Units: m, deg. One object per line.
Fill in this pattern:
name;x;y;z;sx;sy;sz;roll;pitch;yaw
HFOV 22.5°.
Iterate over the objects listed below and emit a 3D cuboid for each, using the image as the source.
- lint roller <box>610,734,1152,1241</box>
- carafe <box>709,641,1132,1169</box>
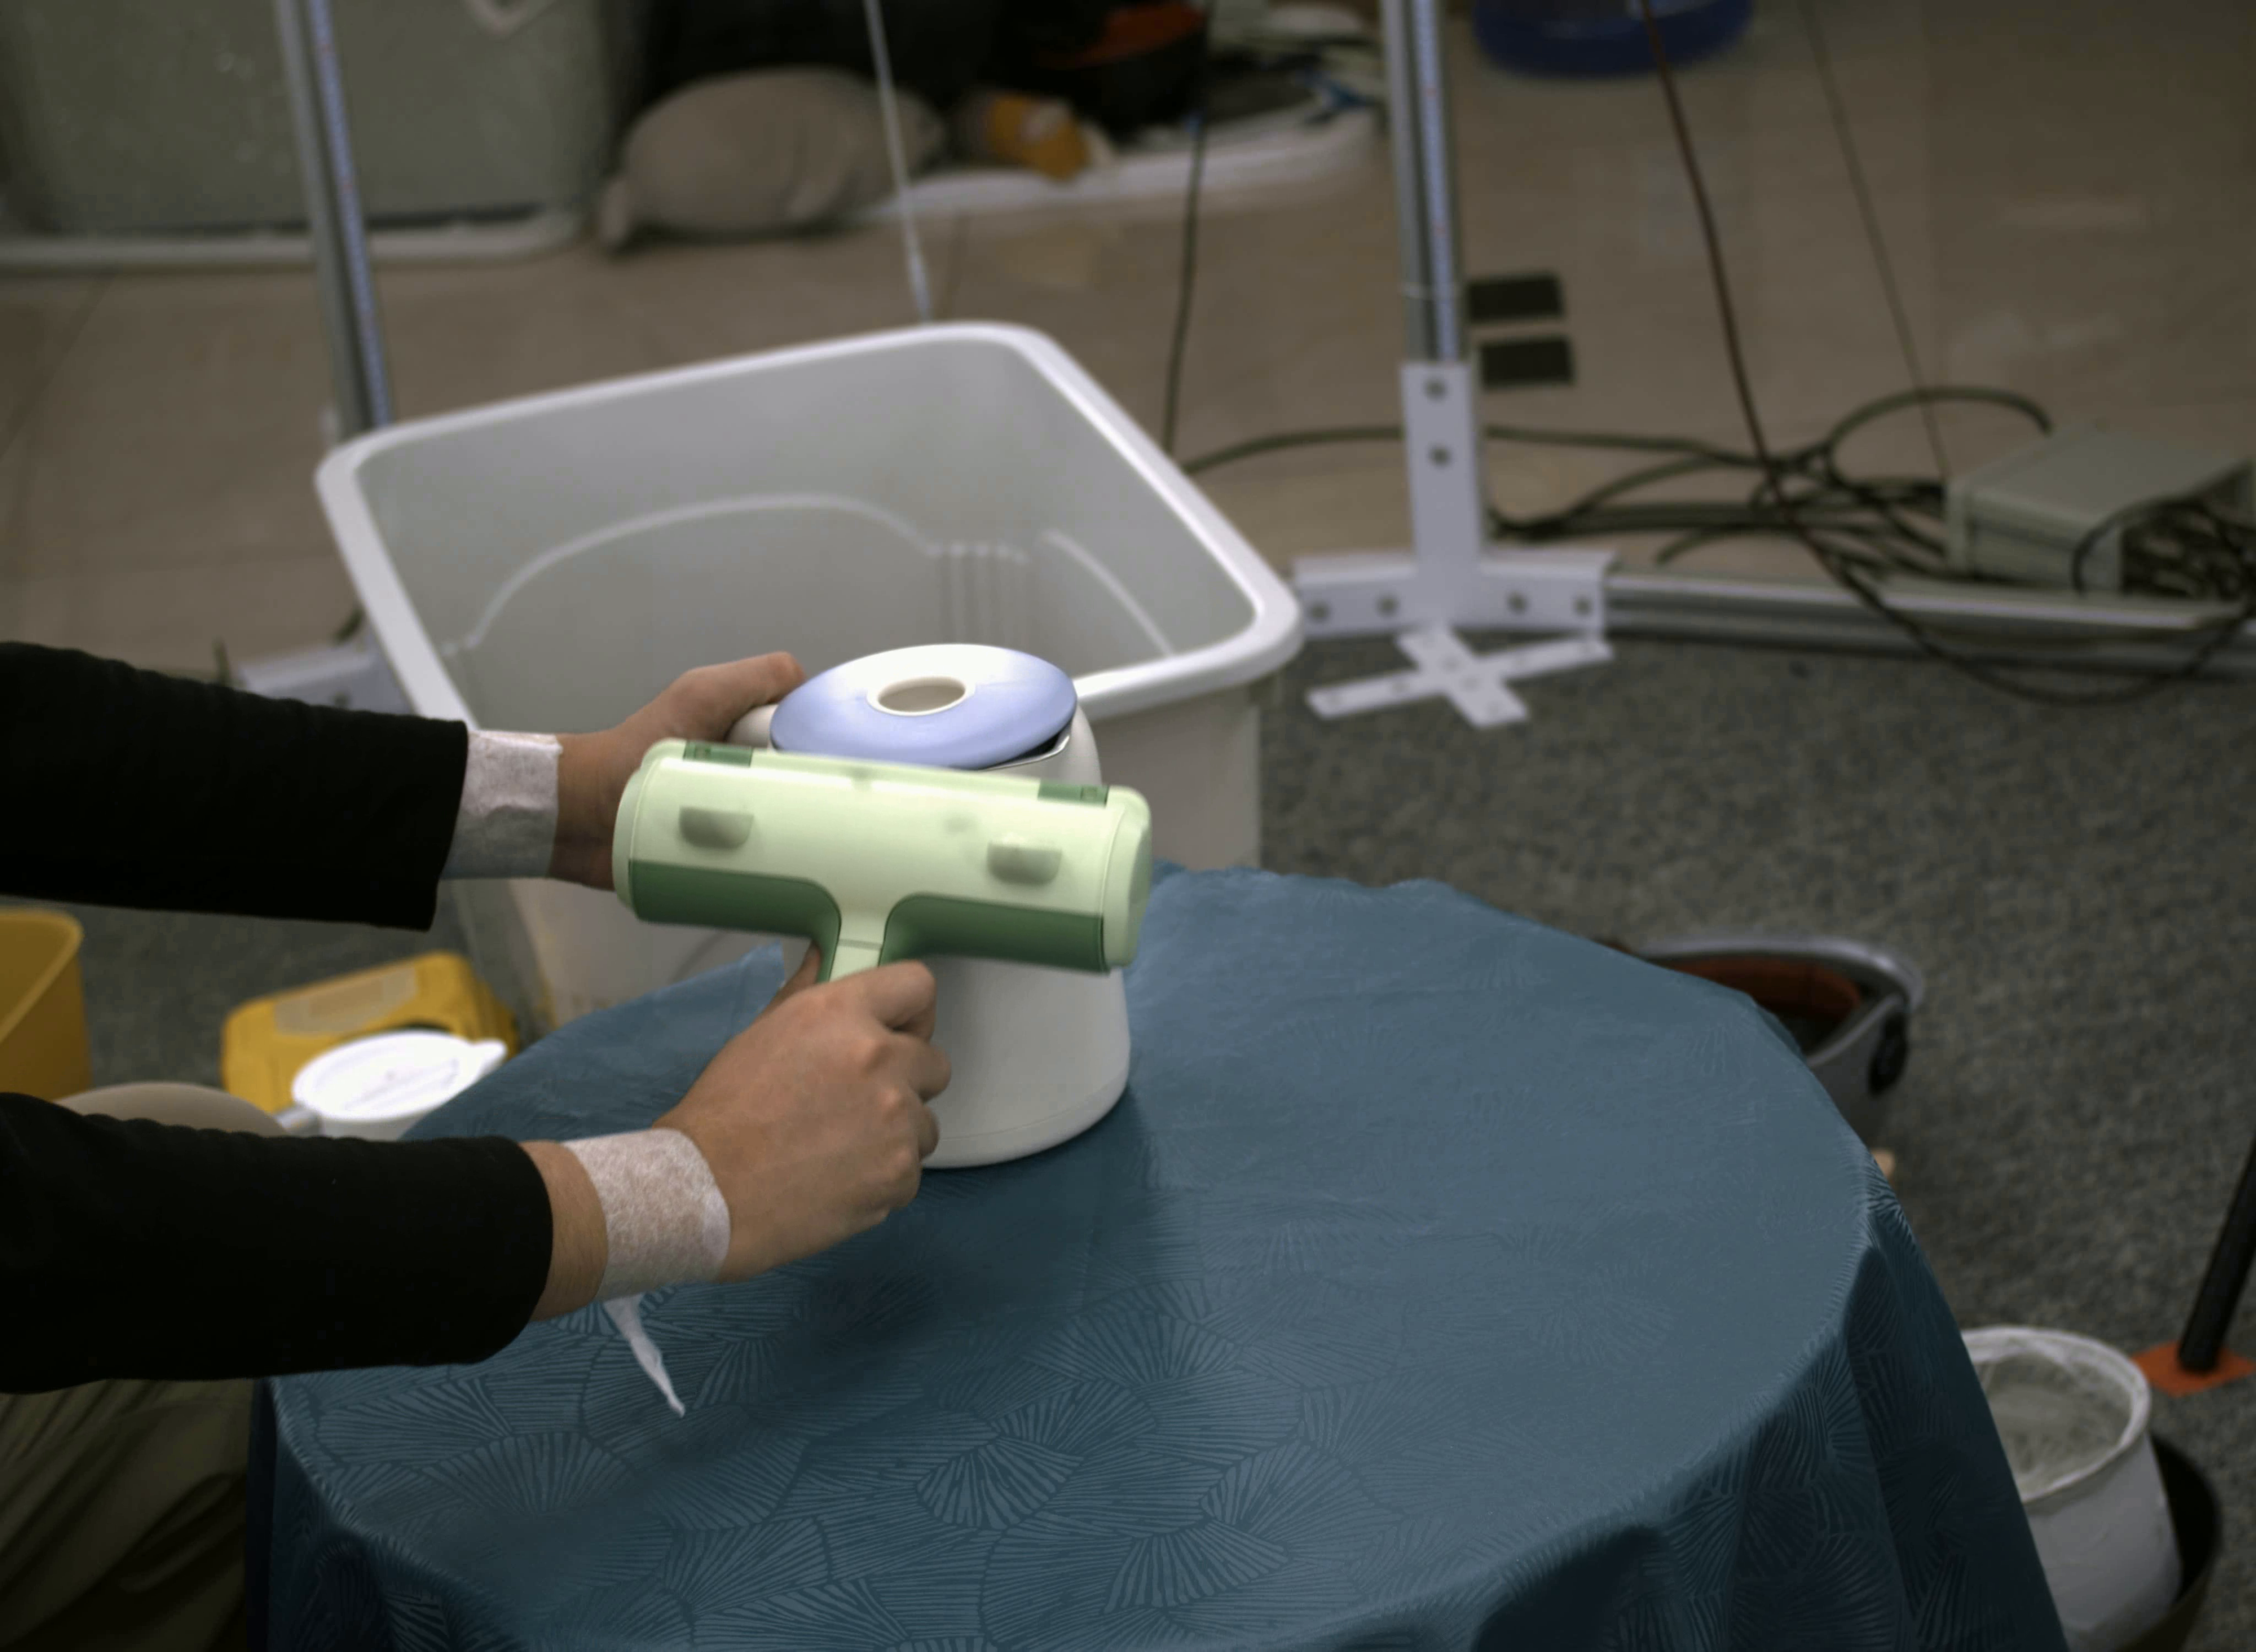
lint roller;-0.101;0.054;2.057;0.198;0.083;0.181;6;62;9
carafe;-0.089;0.026;2.206;0.190;0.185;0.131;12;30;37
